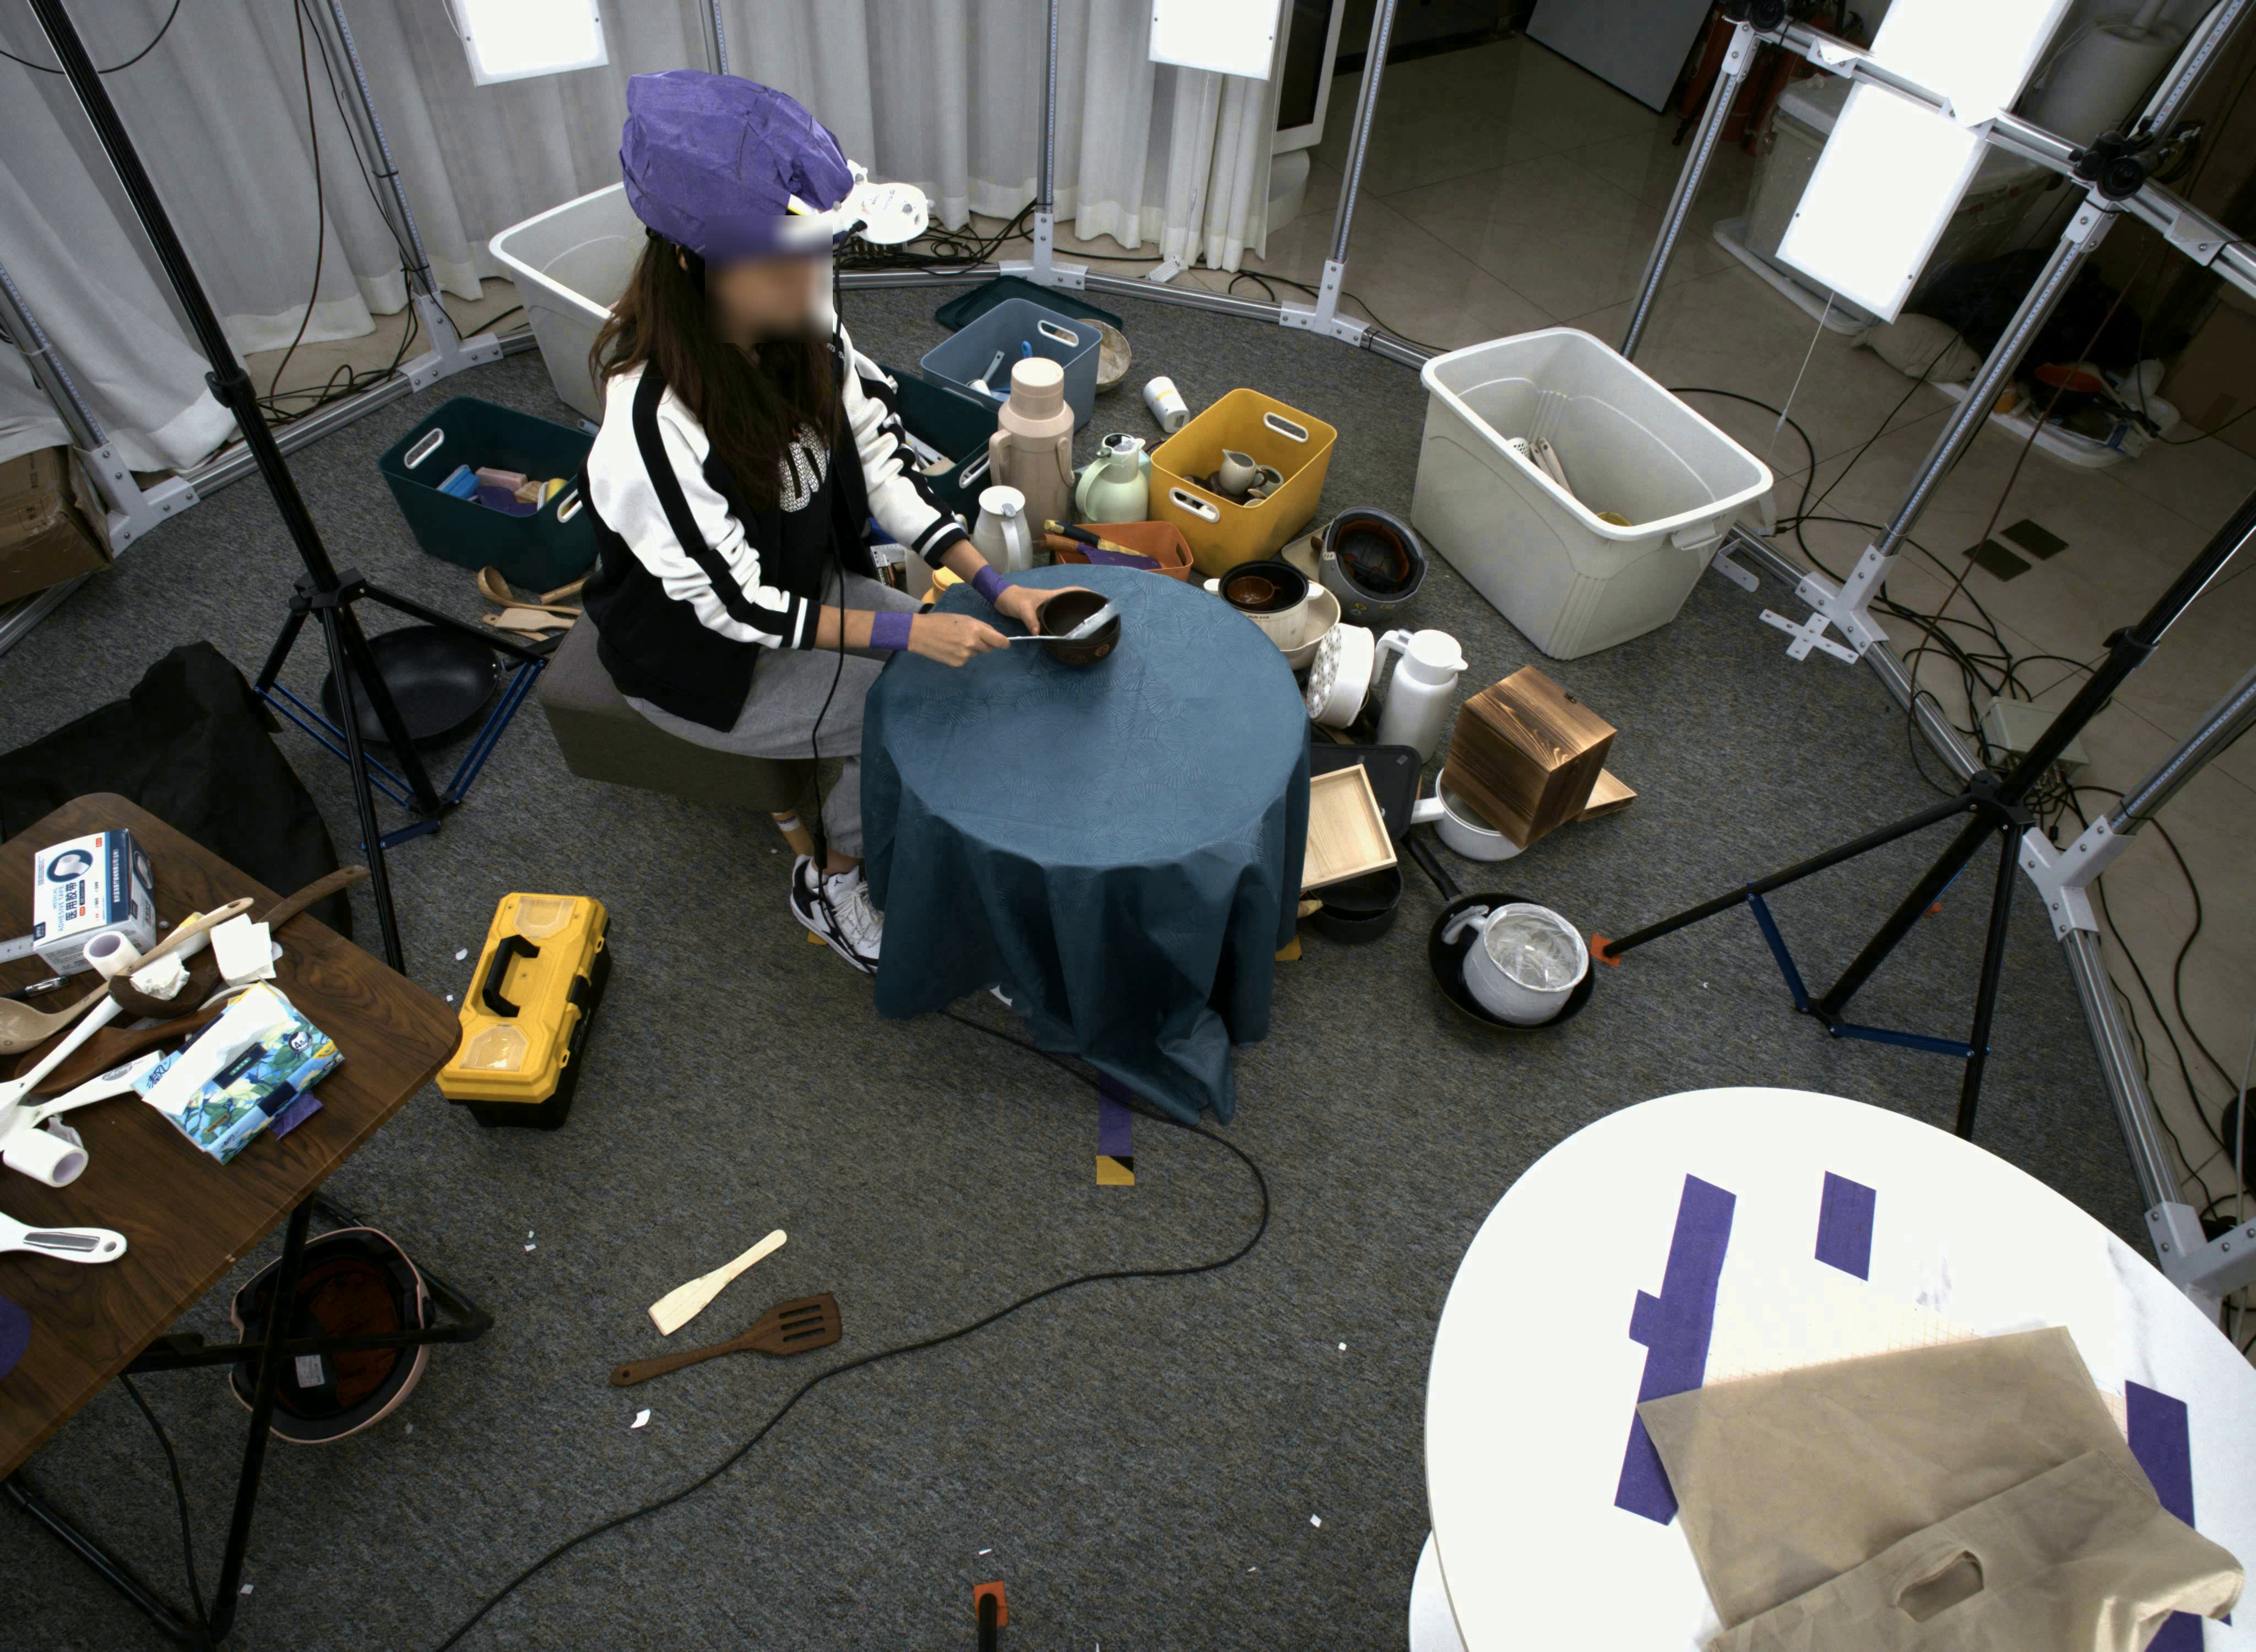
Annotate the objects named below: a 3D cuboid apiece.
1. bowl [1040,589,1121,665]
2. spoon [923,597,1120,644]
[{"bbox_3d":[-0.069,-0.279,1.860,0.118,0.068,0.121,2,49,-3],"label":"bowl"},{"bbox_3d":[-0.149,-0.287,1.802,0.277,0.101,0.059,-1,93,4],"label":"spoon"}]
